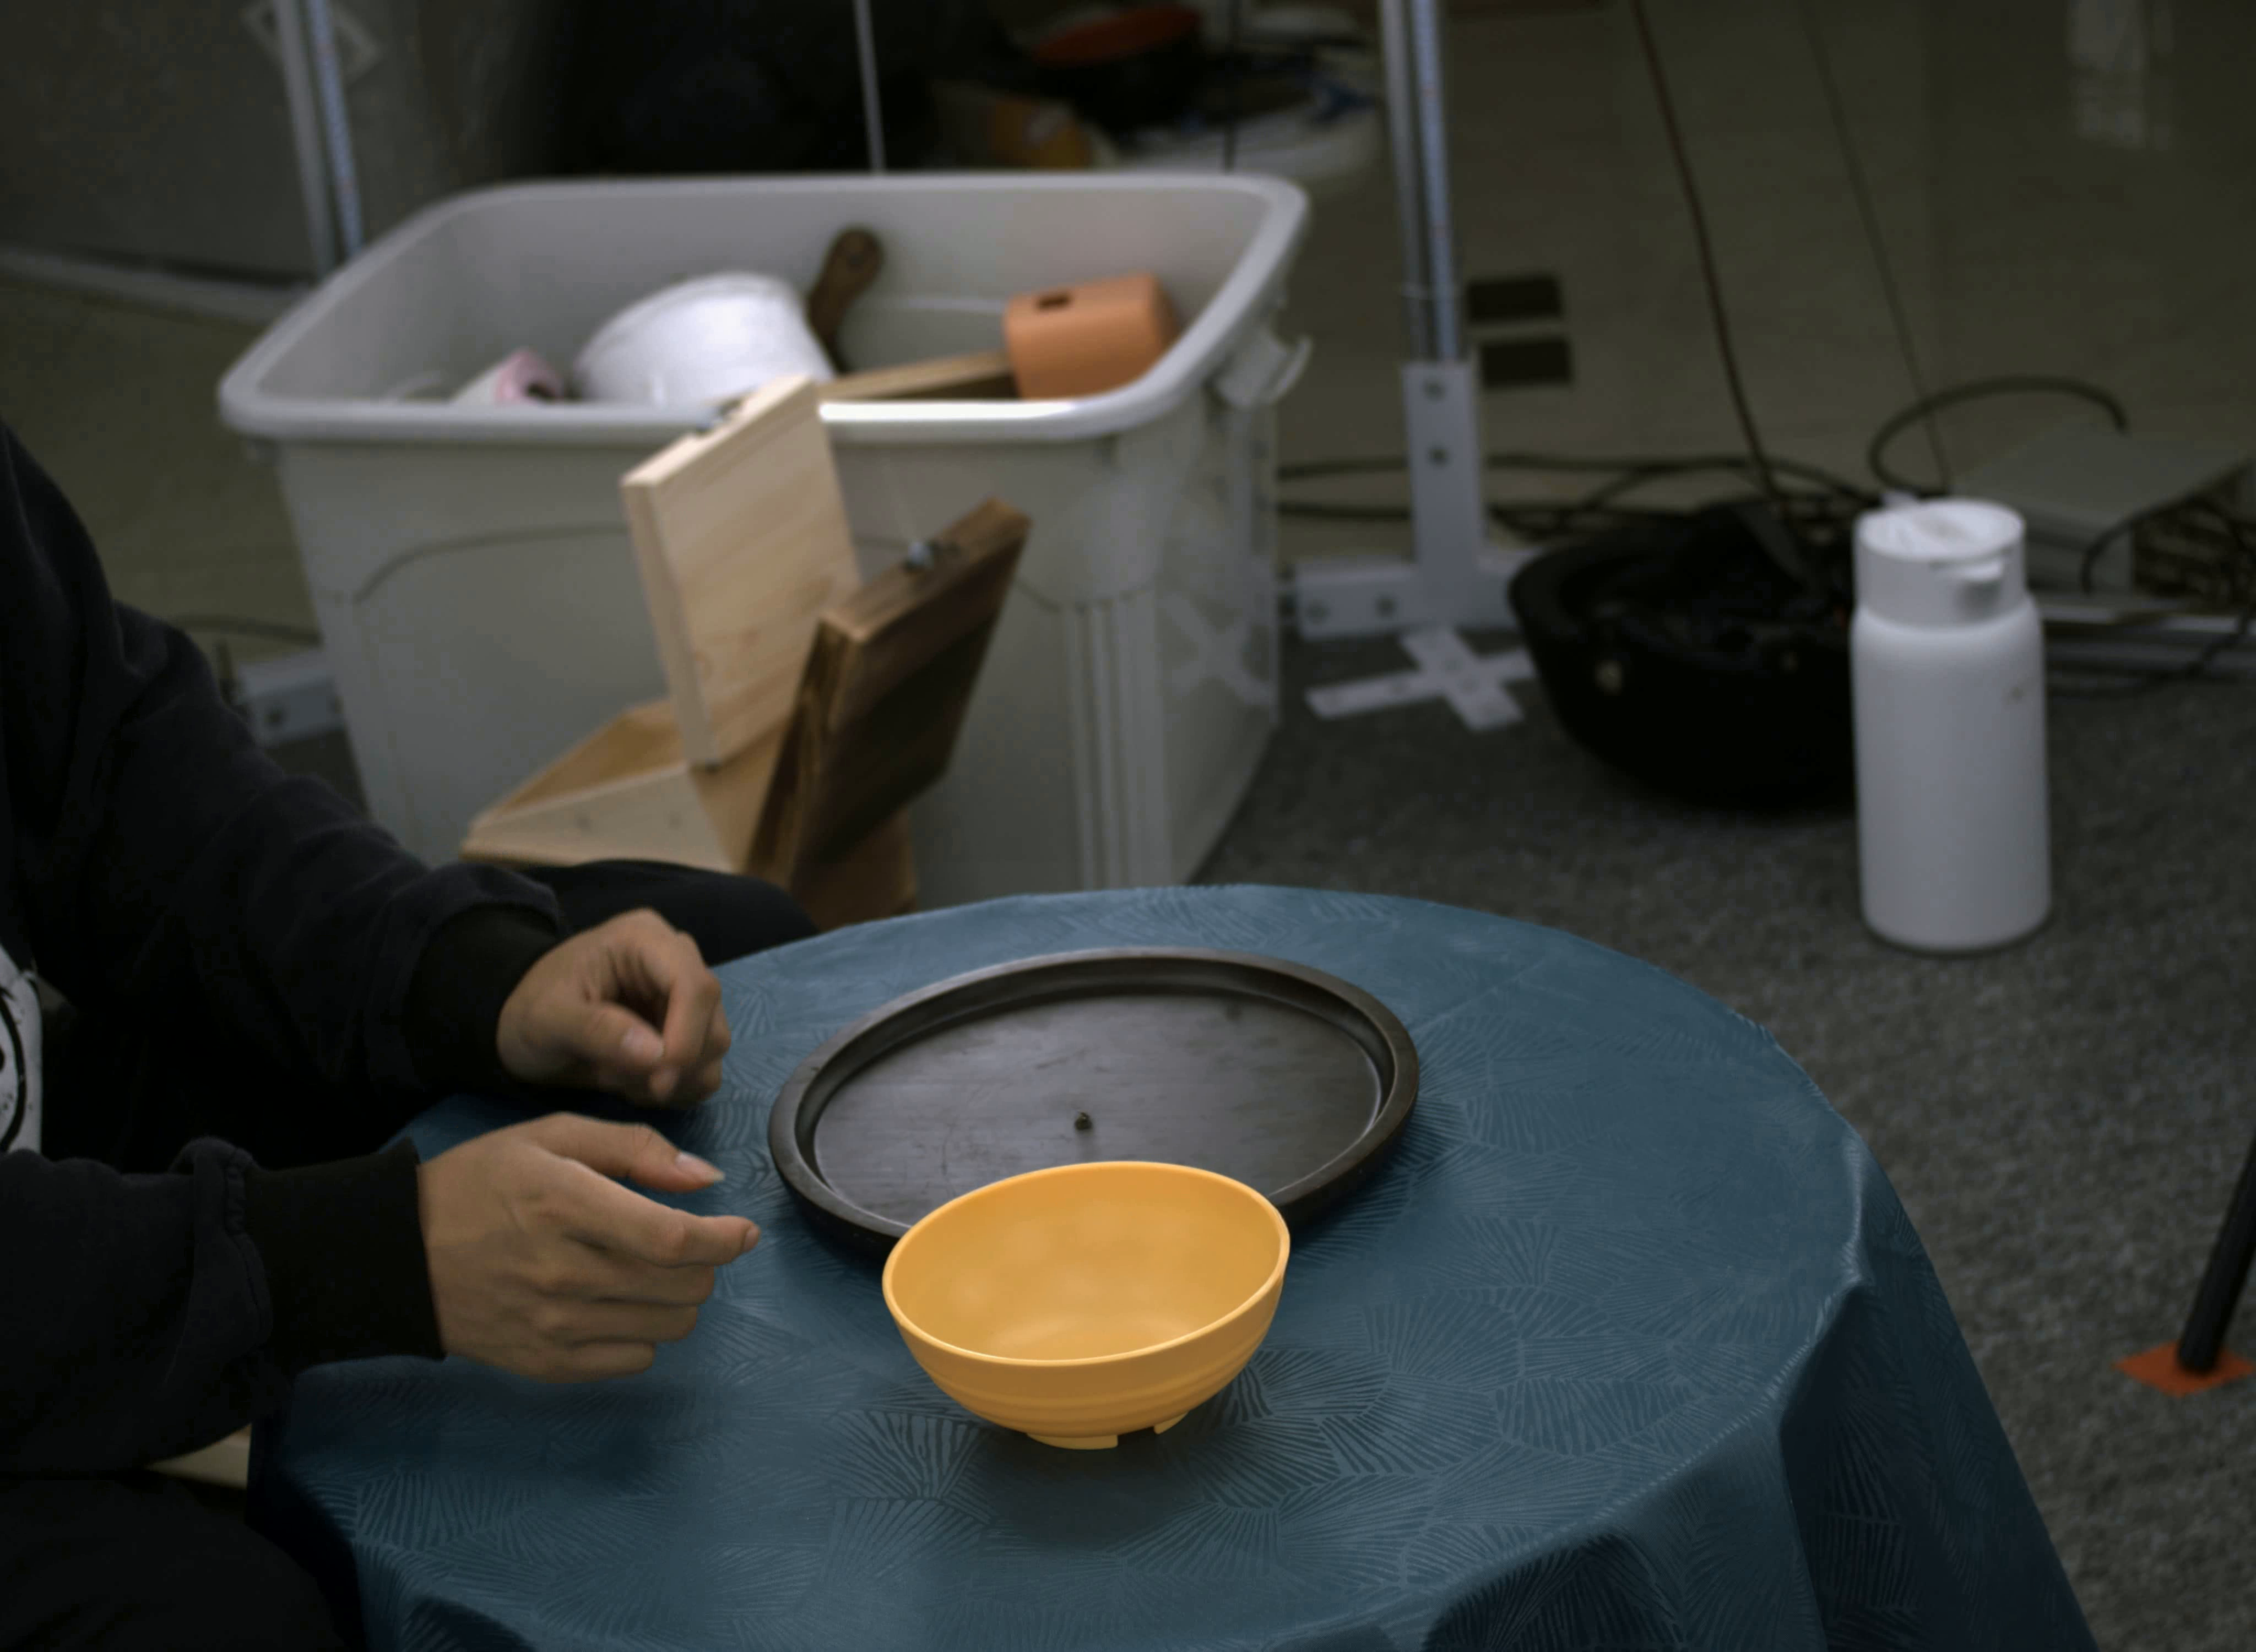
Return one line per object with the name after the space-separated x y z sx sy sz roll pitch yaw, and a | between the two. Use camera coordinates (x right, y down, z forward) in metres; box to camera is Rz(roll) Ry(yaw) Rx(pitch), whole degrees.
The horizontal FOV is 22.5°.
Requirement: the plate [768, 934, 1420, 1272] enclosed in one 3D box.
-0.012 0.112 2.187 0.254 0.029 0.251 -6 26 3 | plate

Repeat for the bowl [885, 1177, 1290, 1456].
-0.011 0.180 2.000 0.145 0.061 0.143 -7 23 3 | bowl
